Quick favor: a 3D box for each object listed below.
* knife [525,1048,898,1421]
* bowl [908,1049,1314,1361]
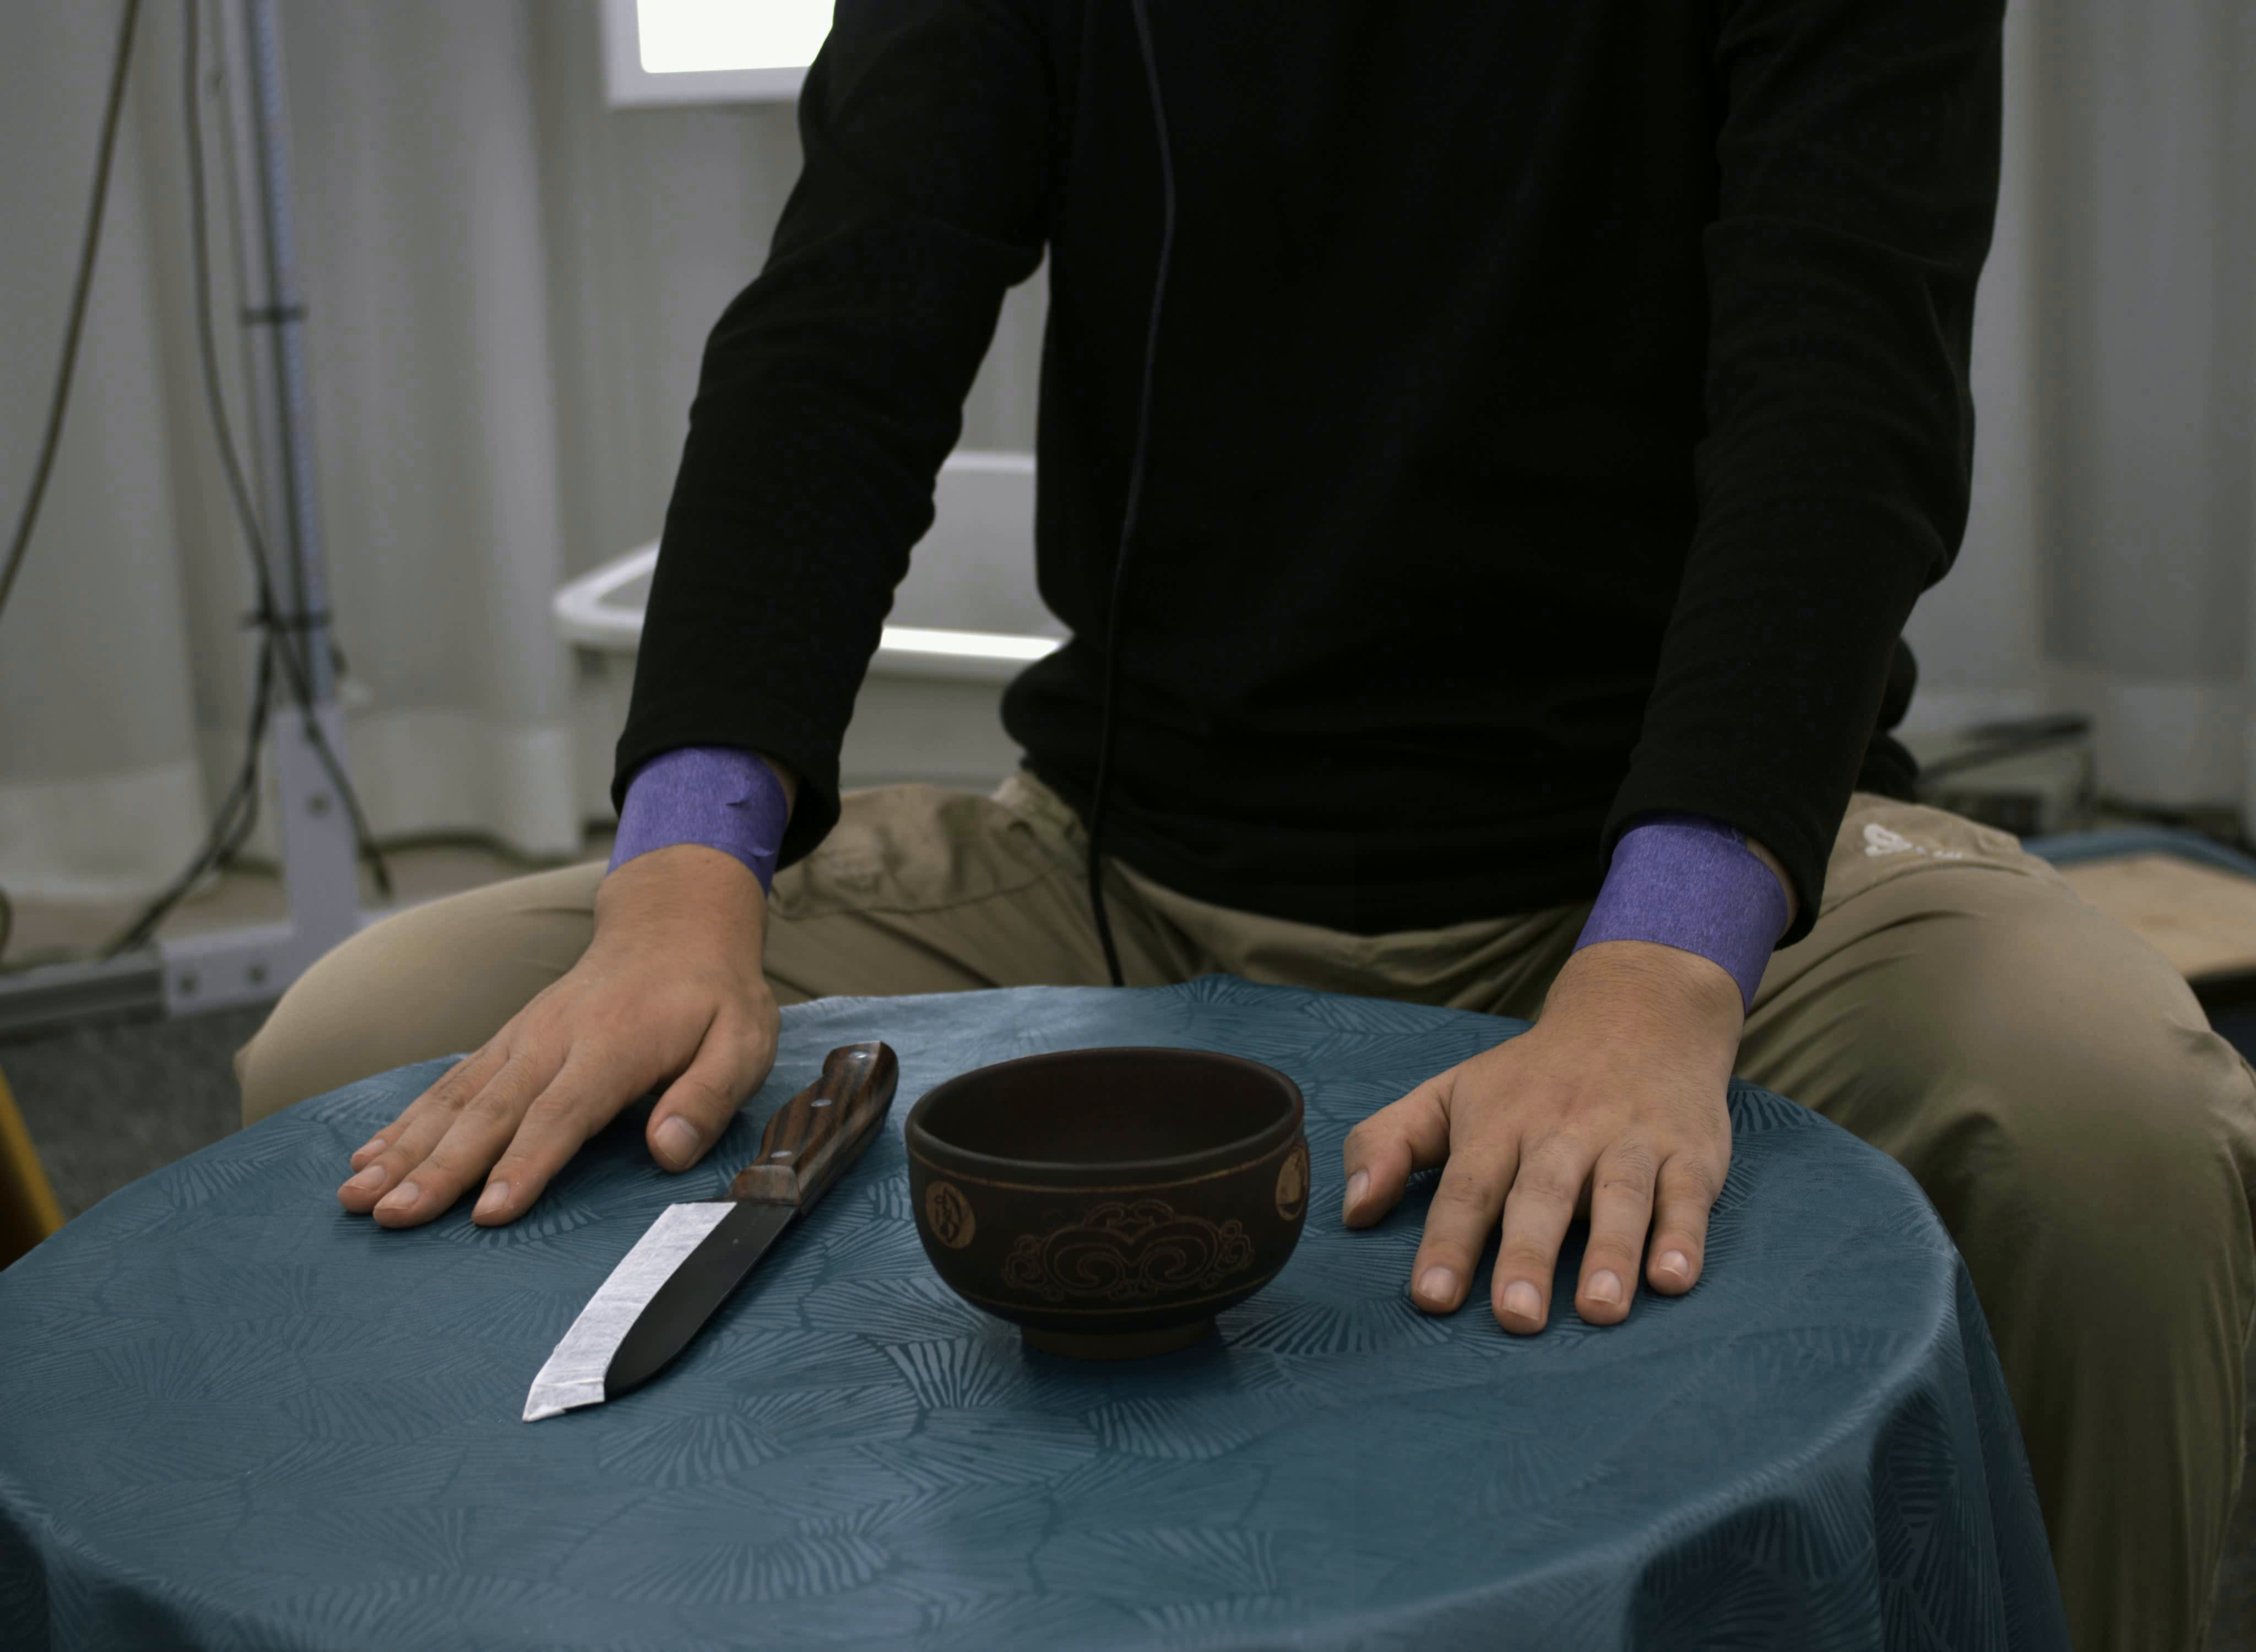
[{"bbox_3d":[-0.124,0.125,1.673,0.050,0.020,0.290,-3,16,18],"label":"knife"},{"bbox_3d":[-0.004,0.113,1.587,0.117,0.069,0.119,-3,13,0],"label":"bowl"}]
